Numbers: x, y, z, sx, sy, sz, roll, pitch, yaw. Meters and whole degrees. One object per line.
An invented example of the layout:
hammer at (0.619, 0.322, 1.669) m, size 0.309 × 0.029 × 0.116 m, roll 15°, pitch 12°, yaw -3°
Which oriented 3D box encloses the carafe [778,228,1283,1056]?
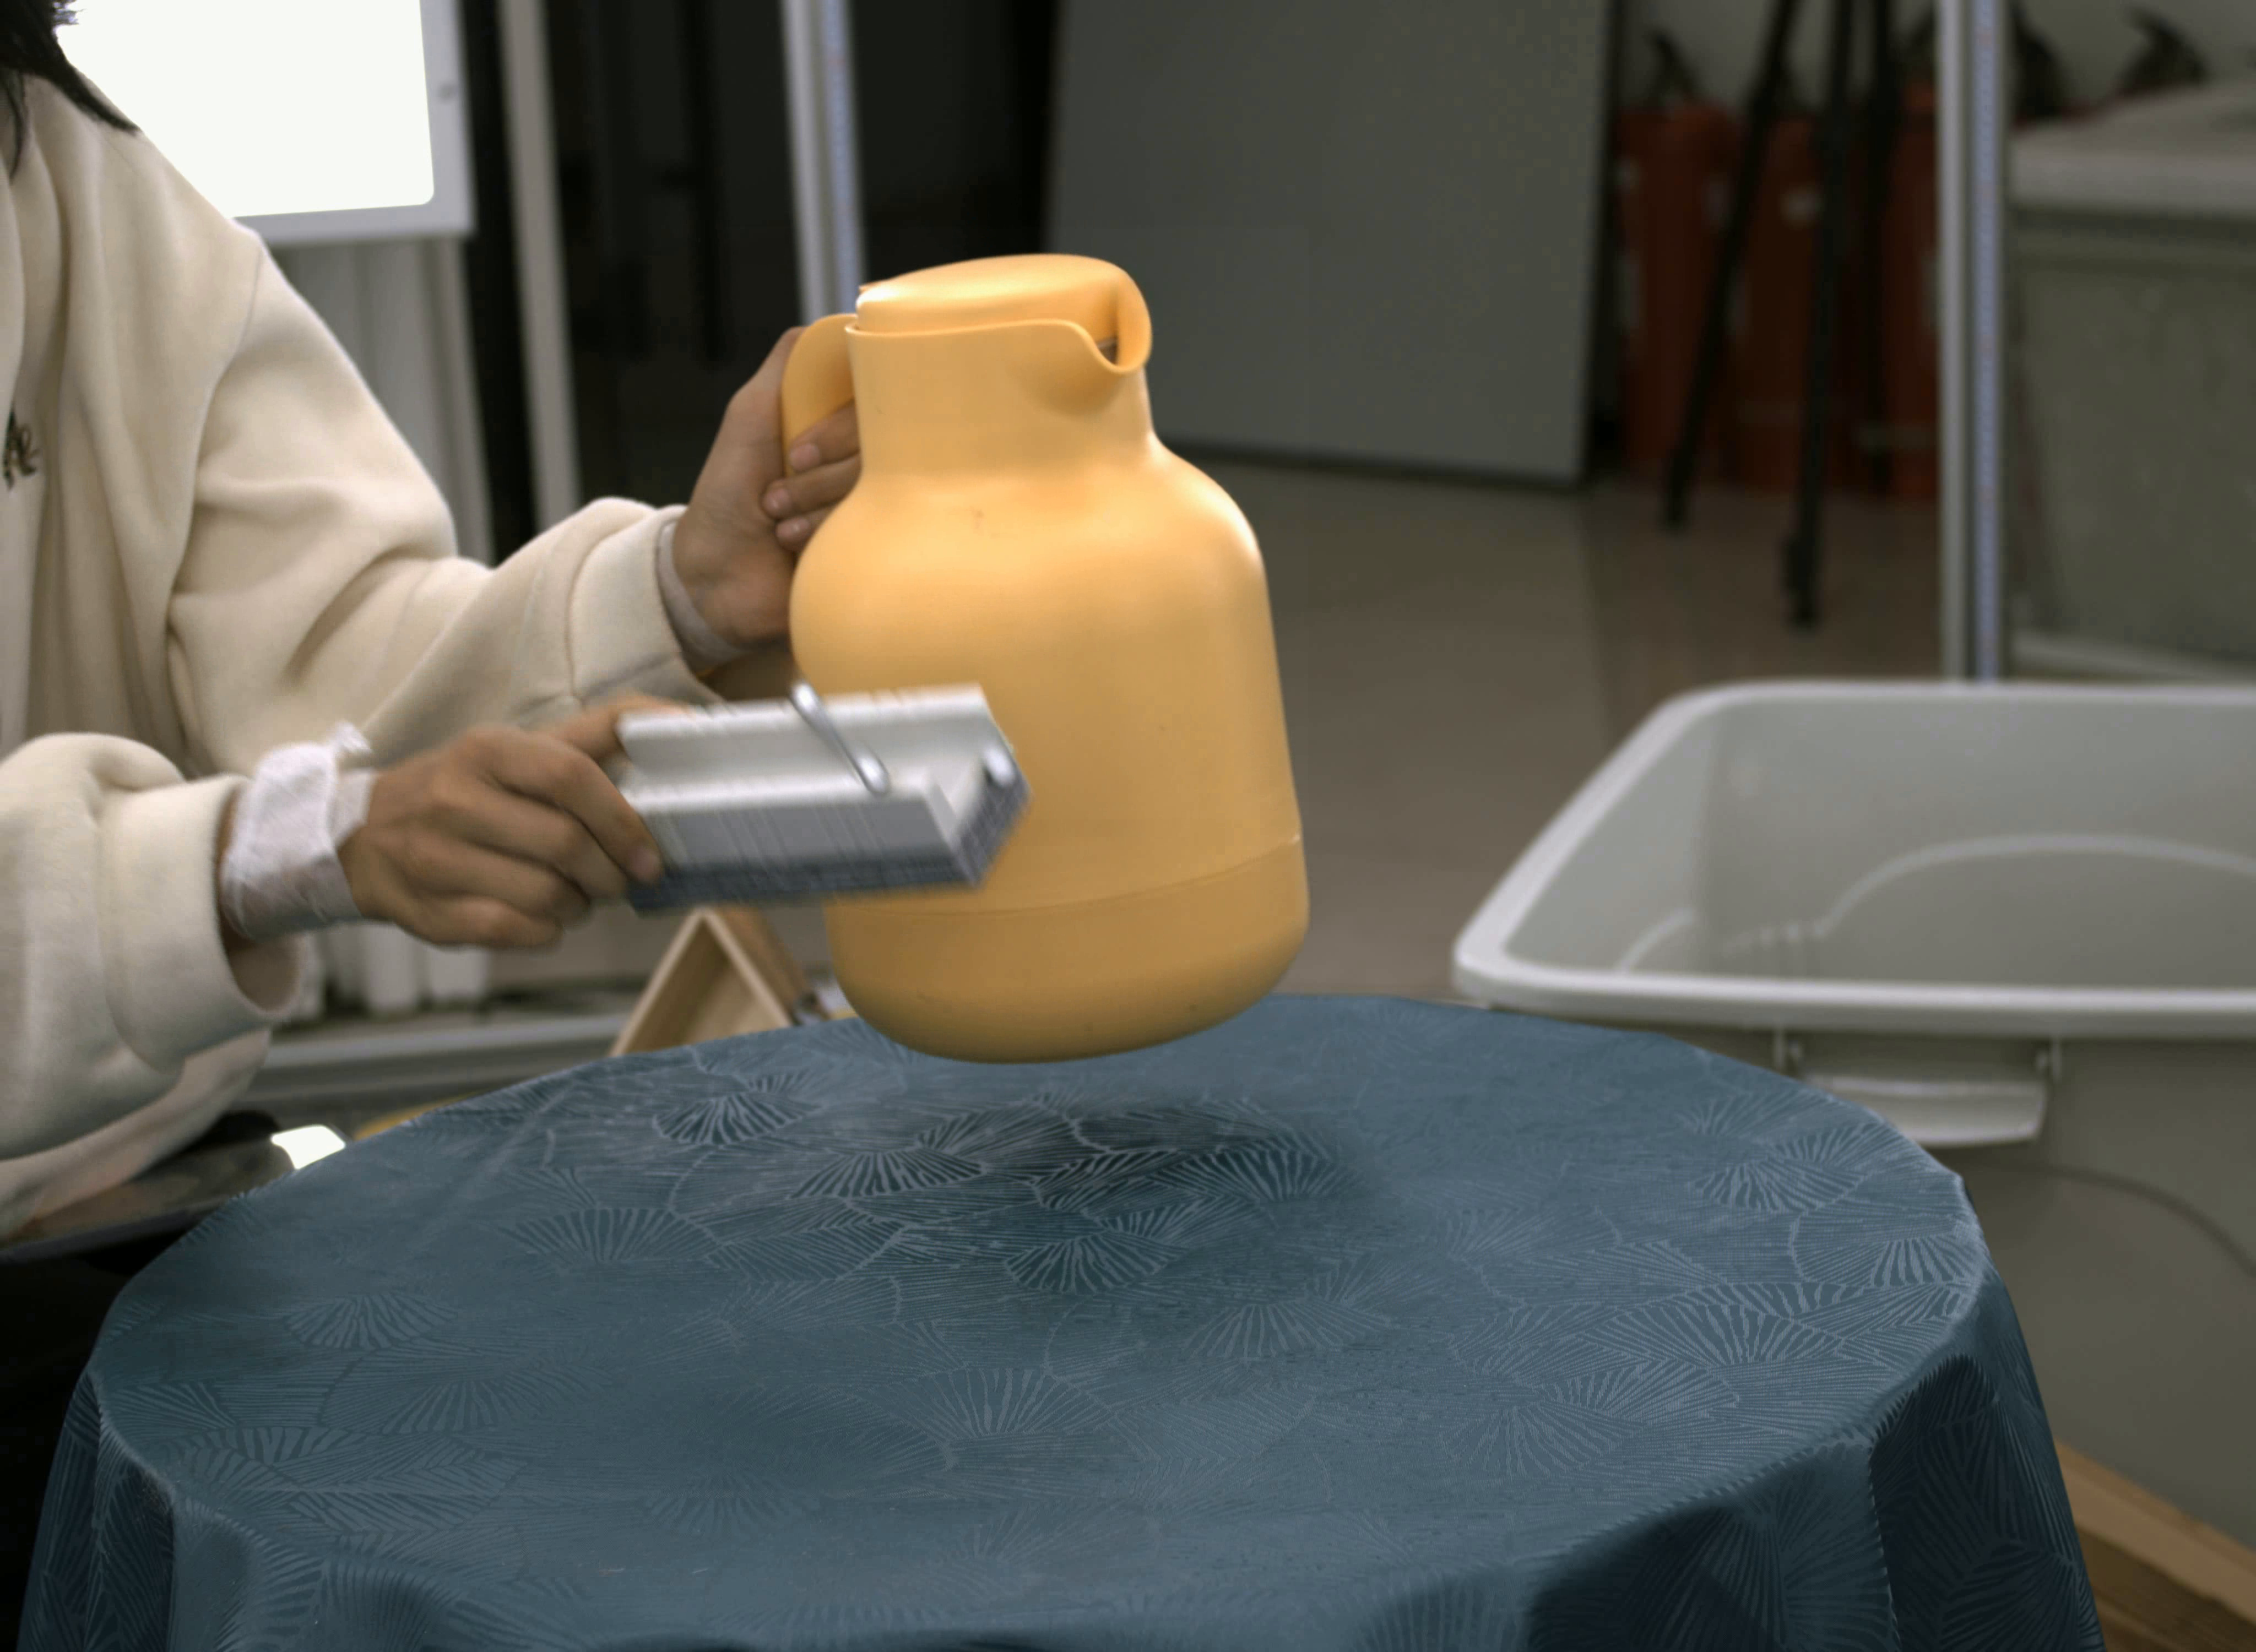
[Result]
carafe at (-0.046, -0.066, 1.804) m, size 0.160 × 0.263 × 0.204 m, roll -10°, pitch 12°, yaw -33°

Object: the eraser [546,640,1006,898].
eraser at (-0.106, -0.016, 1.634) m, size 0.135 × 0.046 × 0.050 m, roll -7°, pitch 40°, yaw 31°
